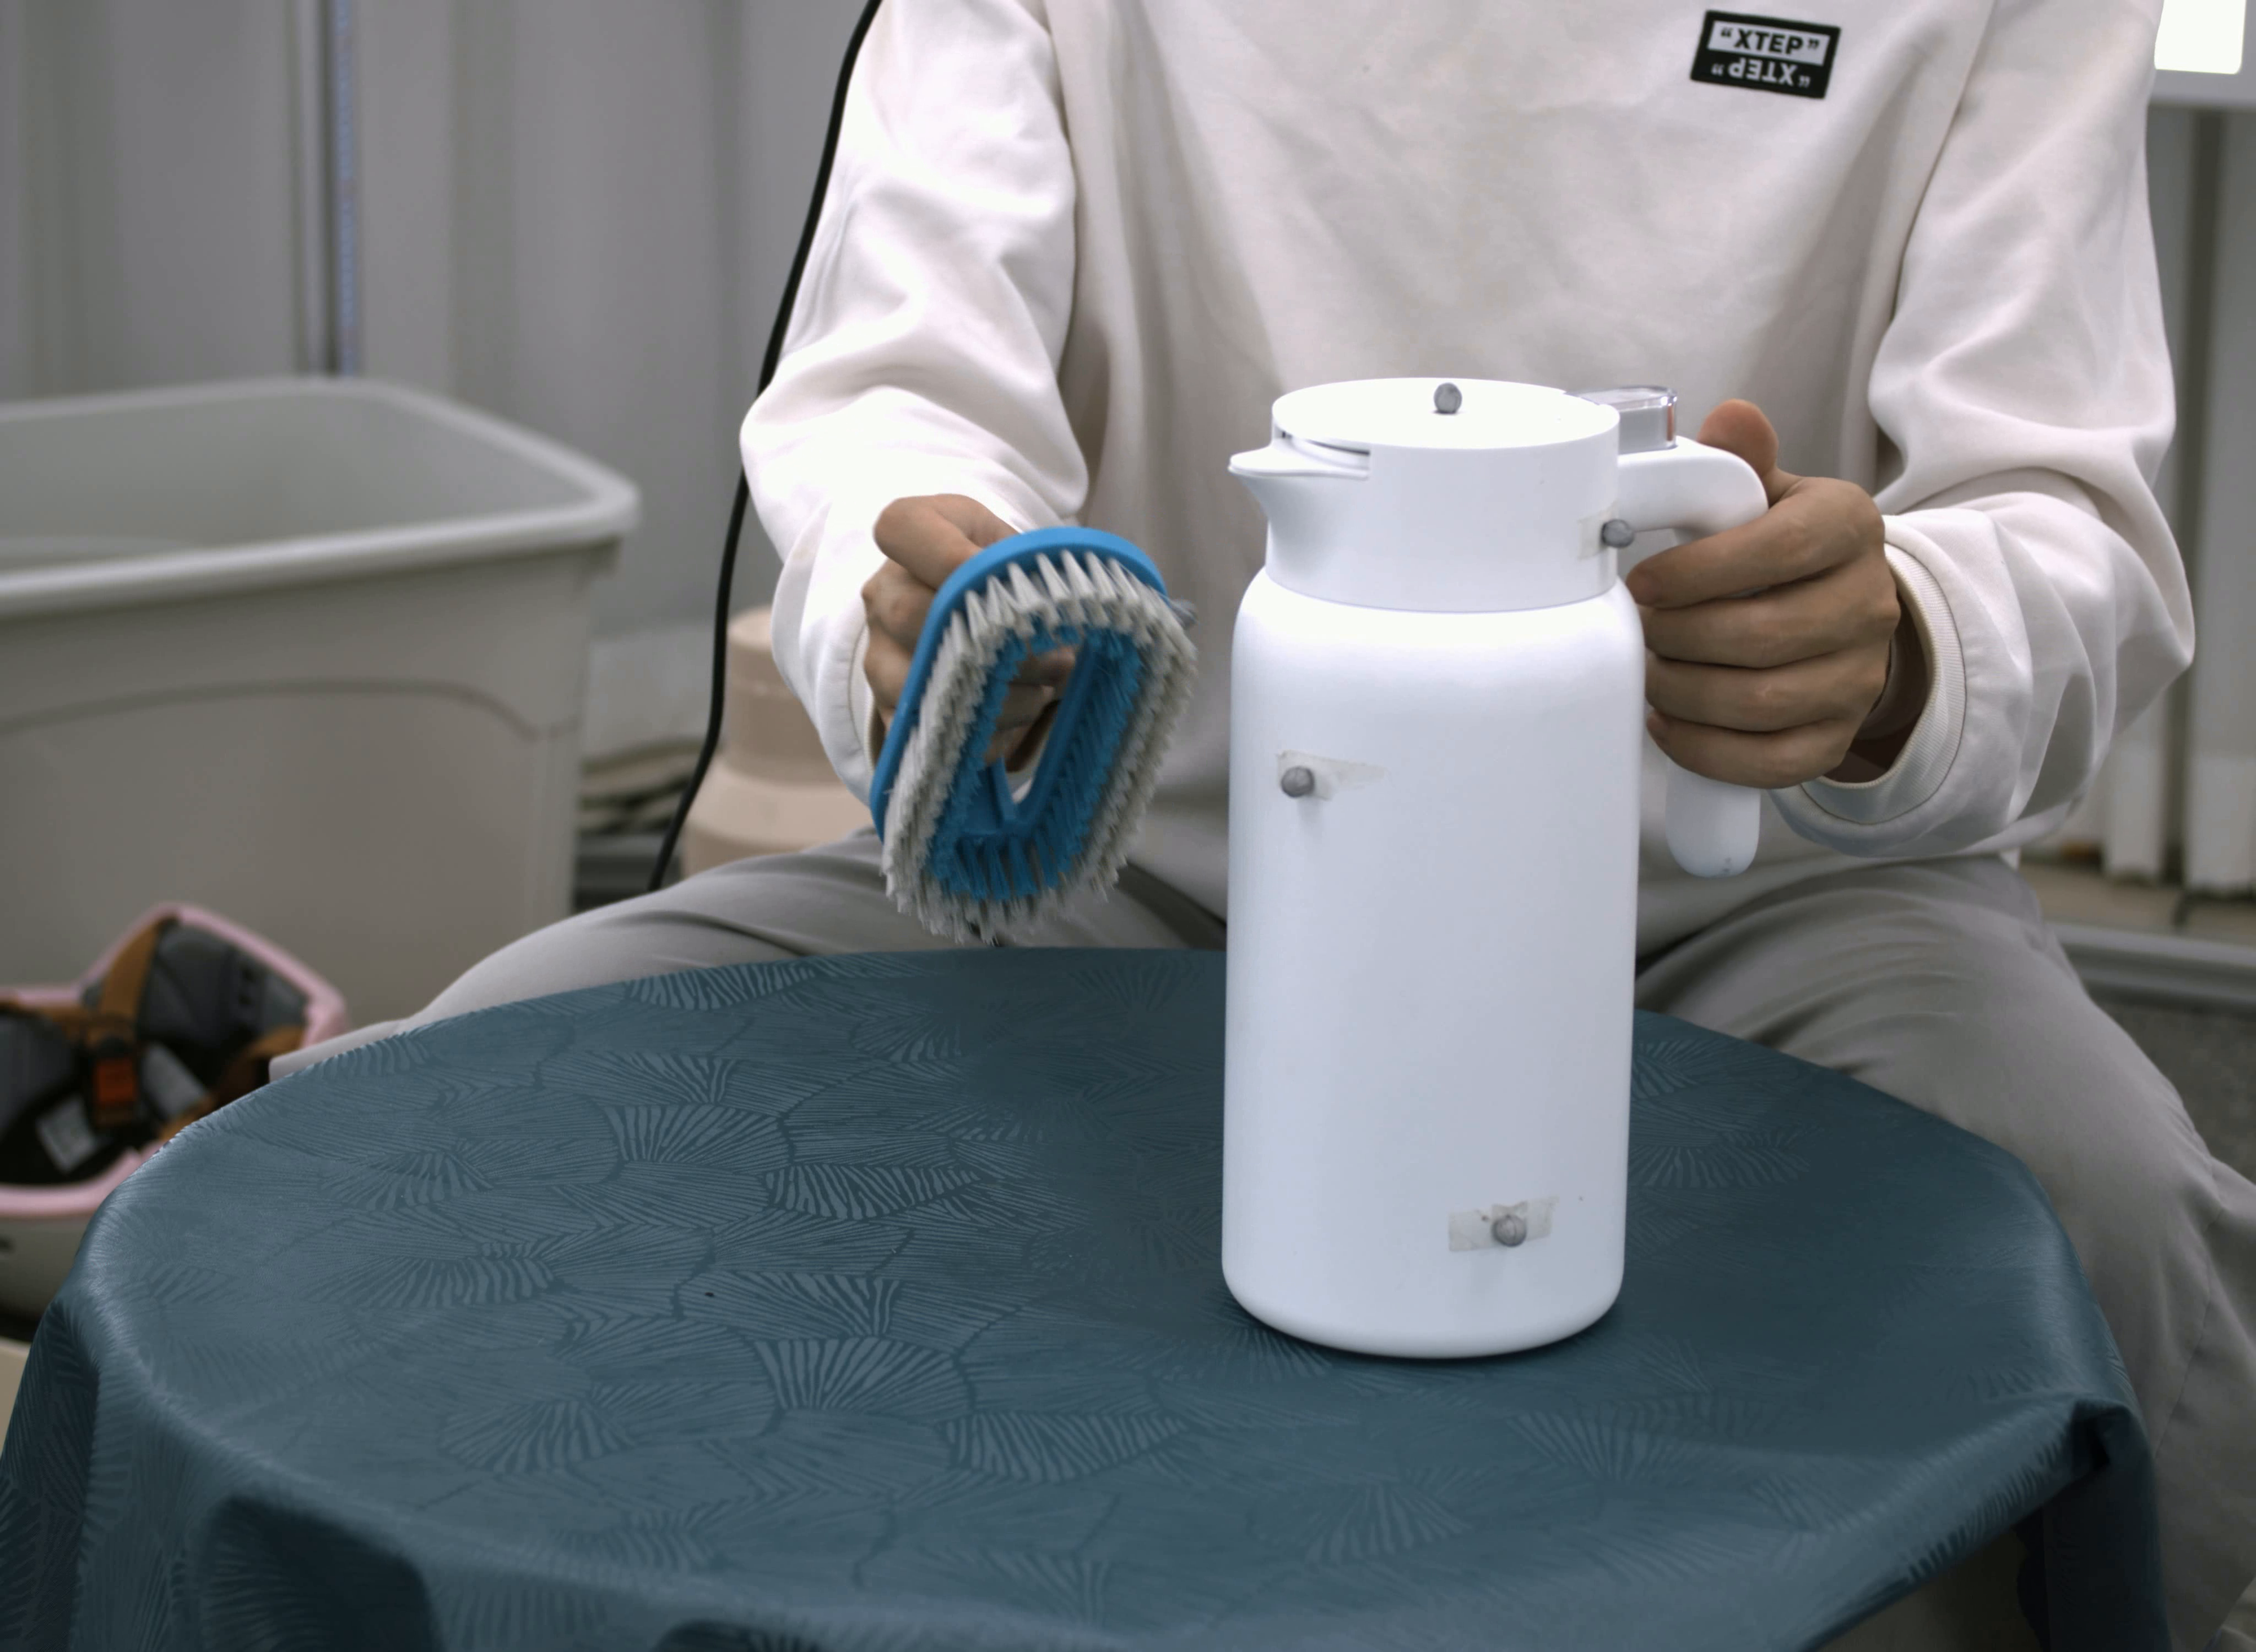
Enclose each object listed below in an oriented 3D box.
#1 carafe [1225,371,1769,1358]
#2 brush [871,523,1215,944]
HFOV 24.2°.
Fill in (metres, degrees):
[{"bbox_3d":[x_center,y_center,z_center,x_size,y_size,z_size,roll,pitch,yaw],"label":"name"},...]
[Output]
[{"bbox_3d":[0.102,0.008,1.513,0.173,0.271,0.122,-8,16,-29],"label":"carafe"},{"bbox_3d":[-0.031,-0.036,1.548,0.084,0.143,0.063,-2,44,-23],"label":"brush"}]
